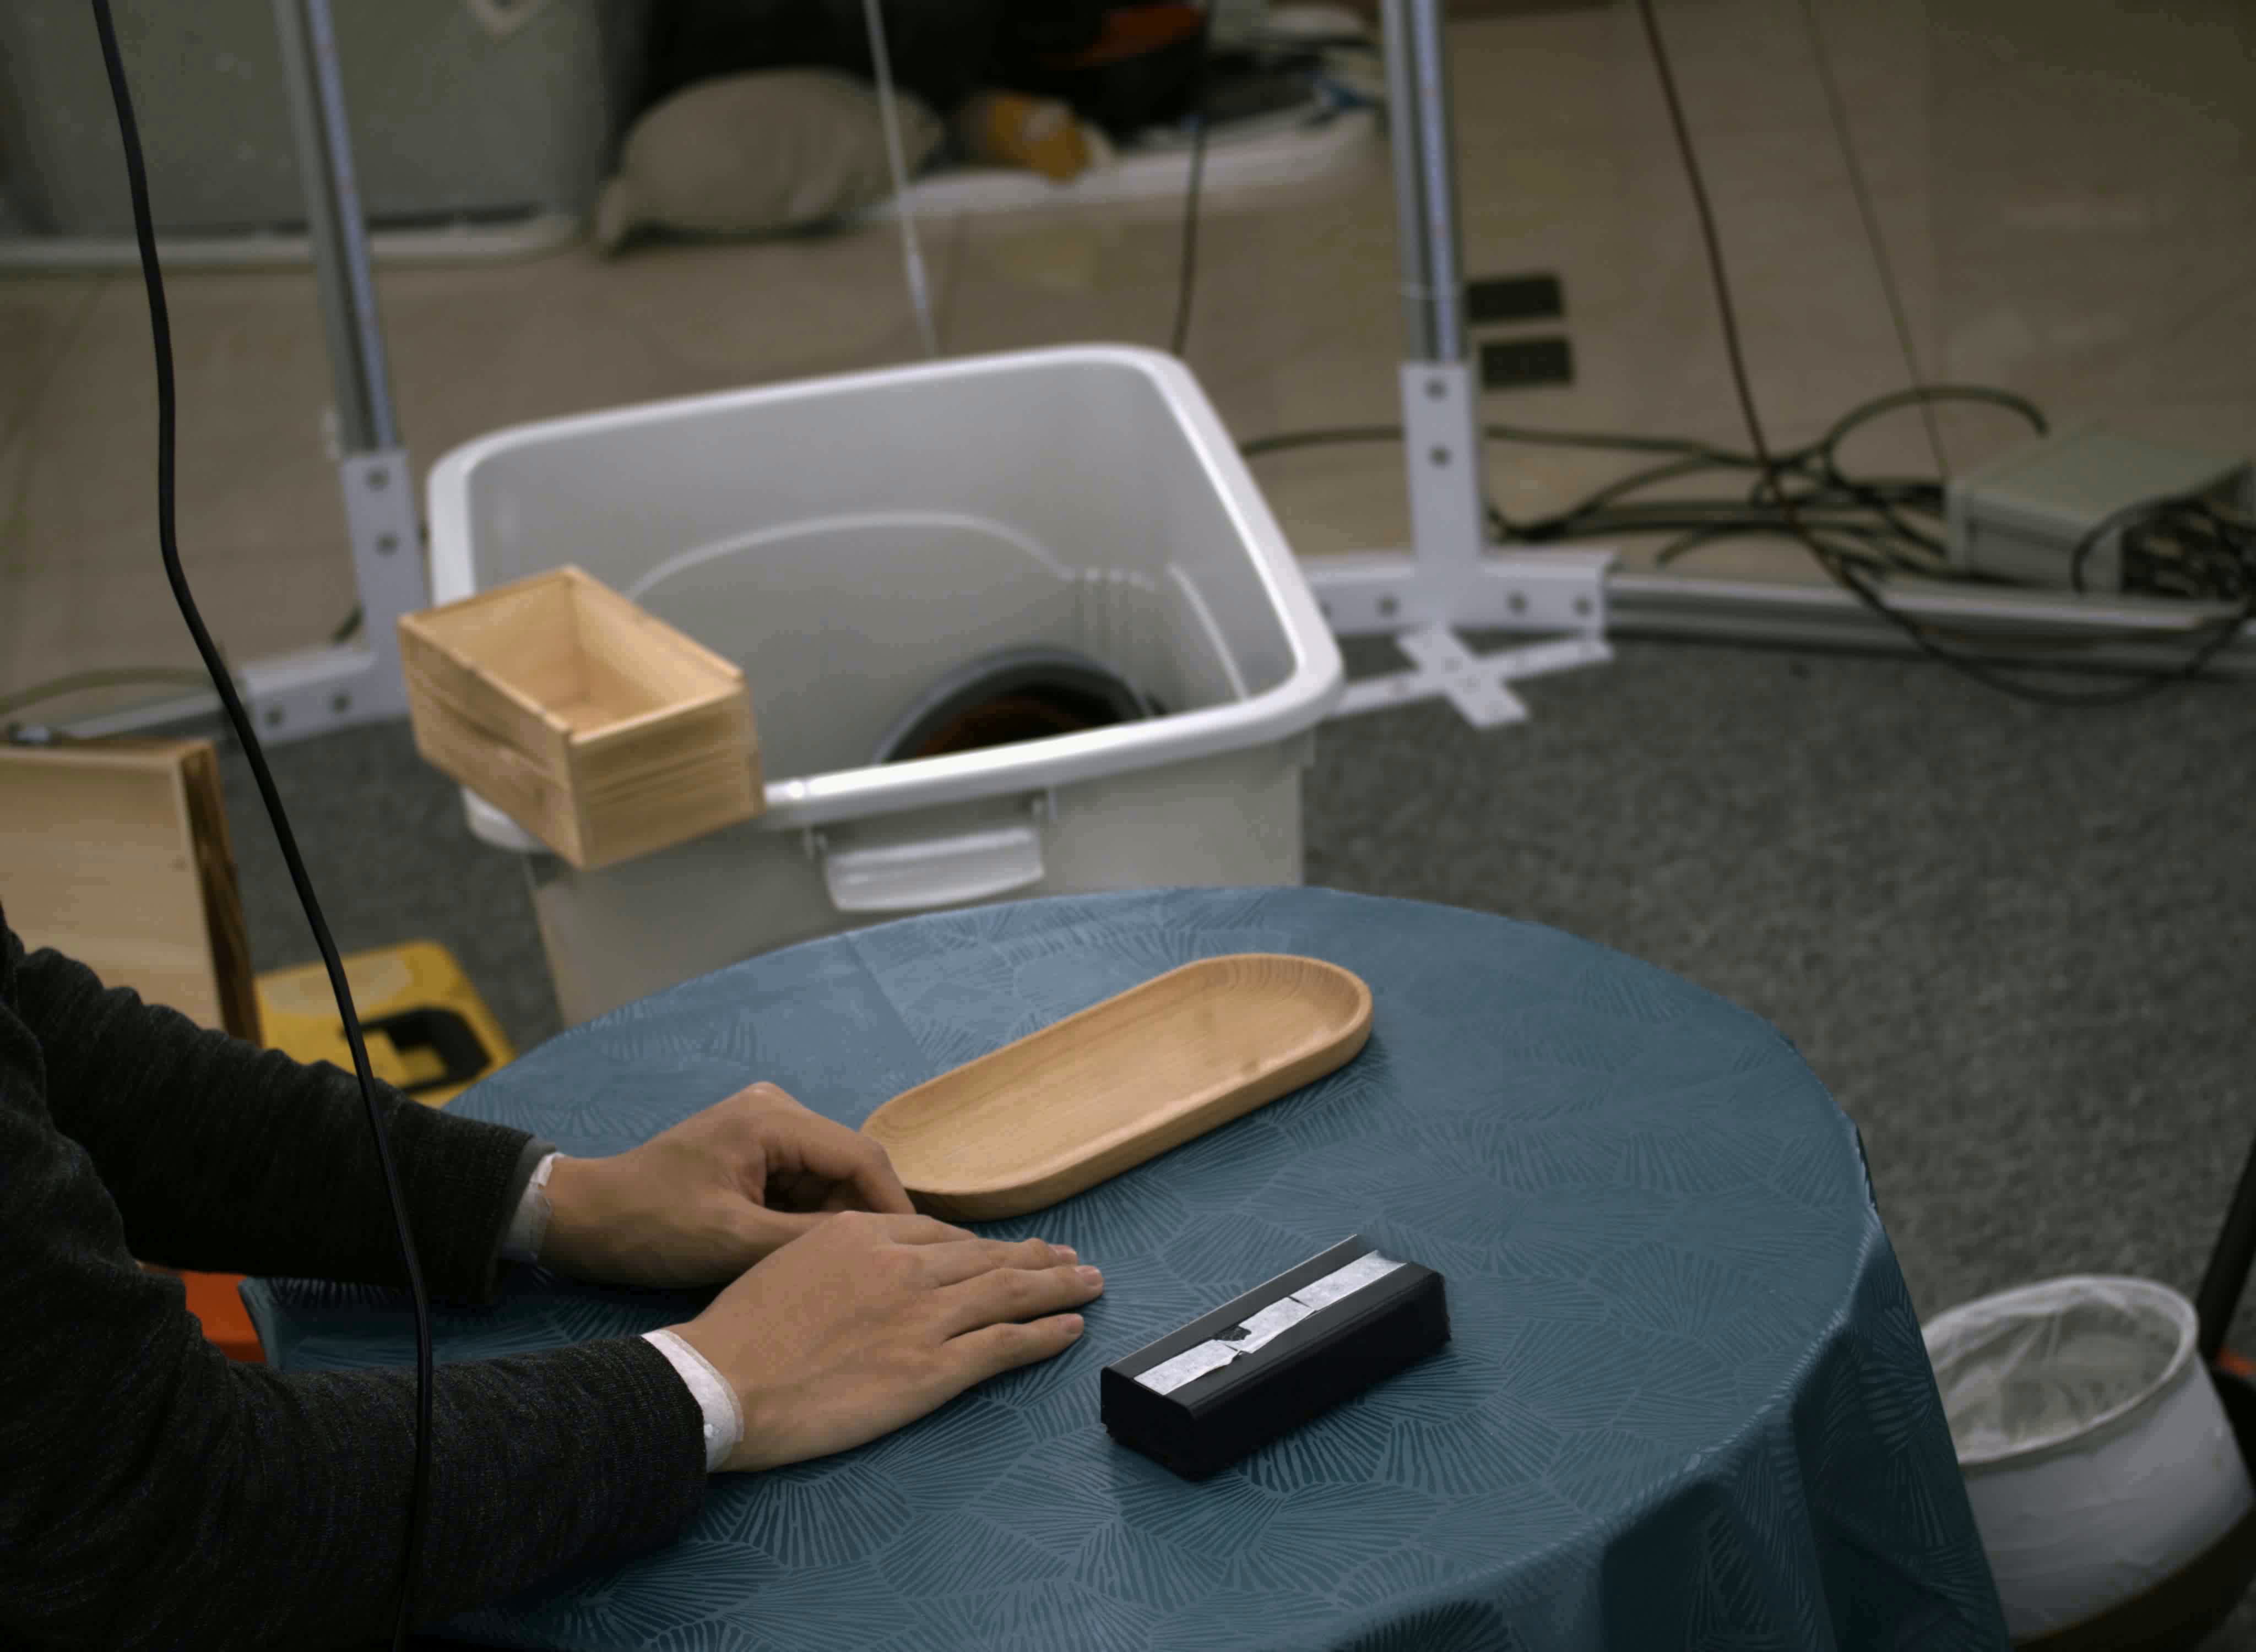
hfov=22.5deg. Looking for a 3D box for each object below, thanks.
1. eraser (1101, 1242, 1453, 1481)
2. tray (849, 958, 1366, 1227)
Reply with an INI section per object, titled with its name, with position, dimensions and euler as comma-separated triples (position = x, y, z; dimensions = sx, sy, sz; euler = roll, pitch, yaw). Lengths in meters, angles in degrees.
[eraser]
position = 0.054, 0.187, 1.999
dimensions = 0.124, 0.031, 0.053
euler = -26, 29, -34
[tray]
position = -0.006, 0.103, 2.208
dimensions = 0.229, 0.020, 0.101
euler = -25, 29, -32
